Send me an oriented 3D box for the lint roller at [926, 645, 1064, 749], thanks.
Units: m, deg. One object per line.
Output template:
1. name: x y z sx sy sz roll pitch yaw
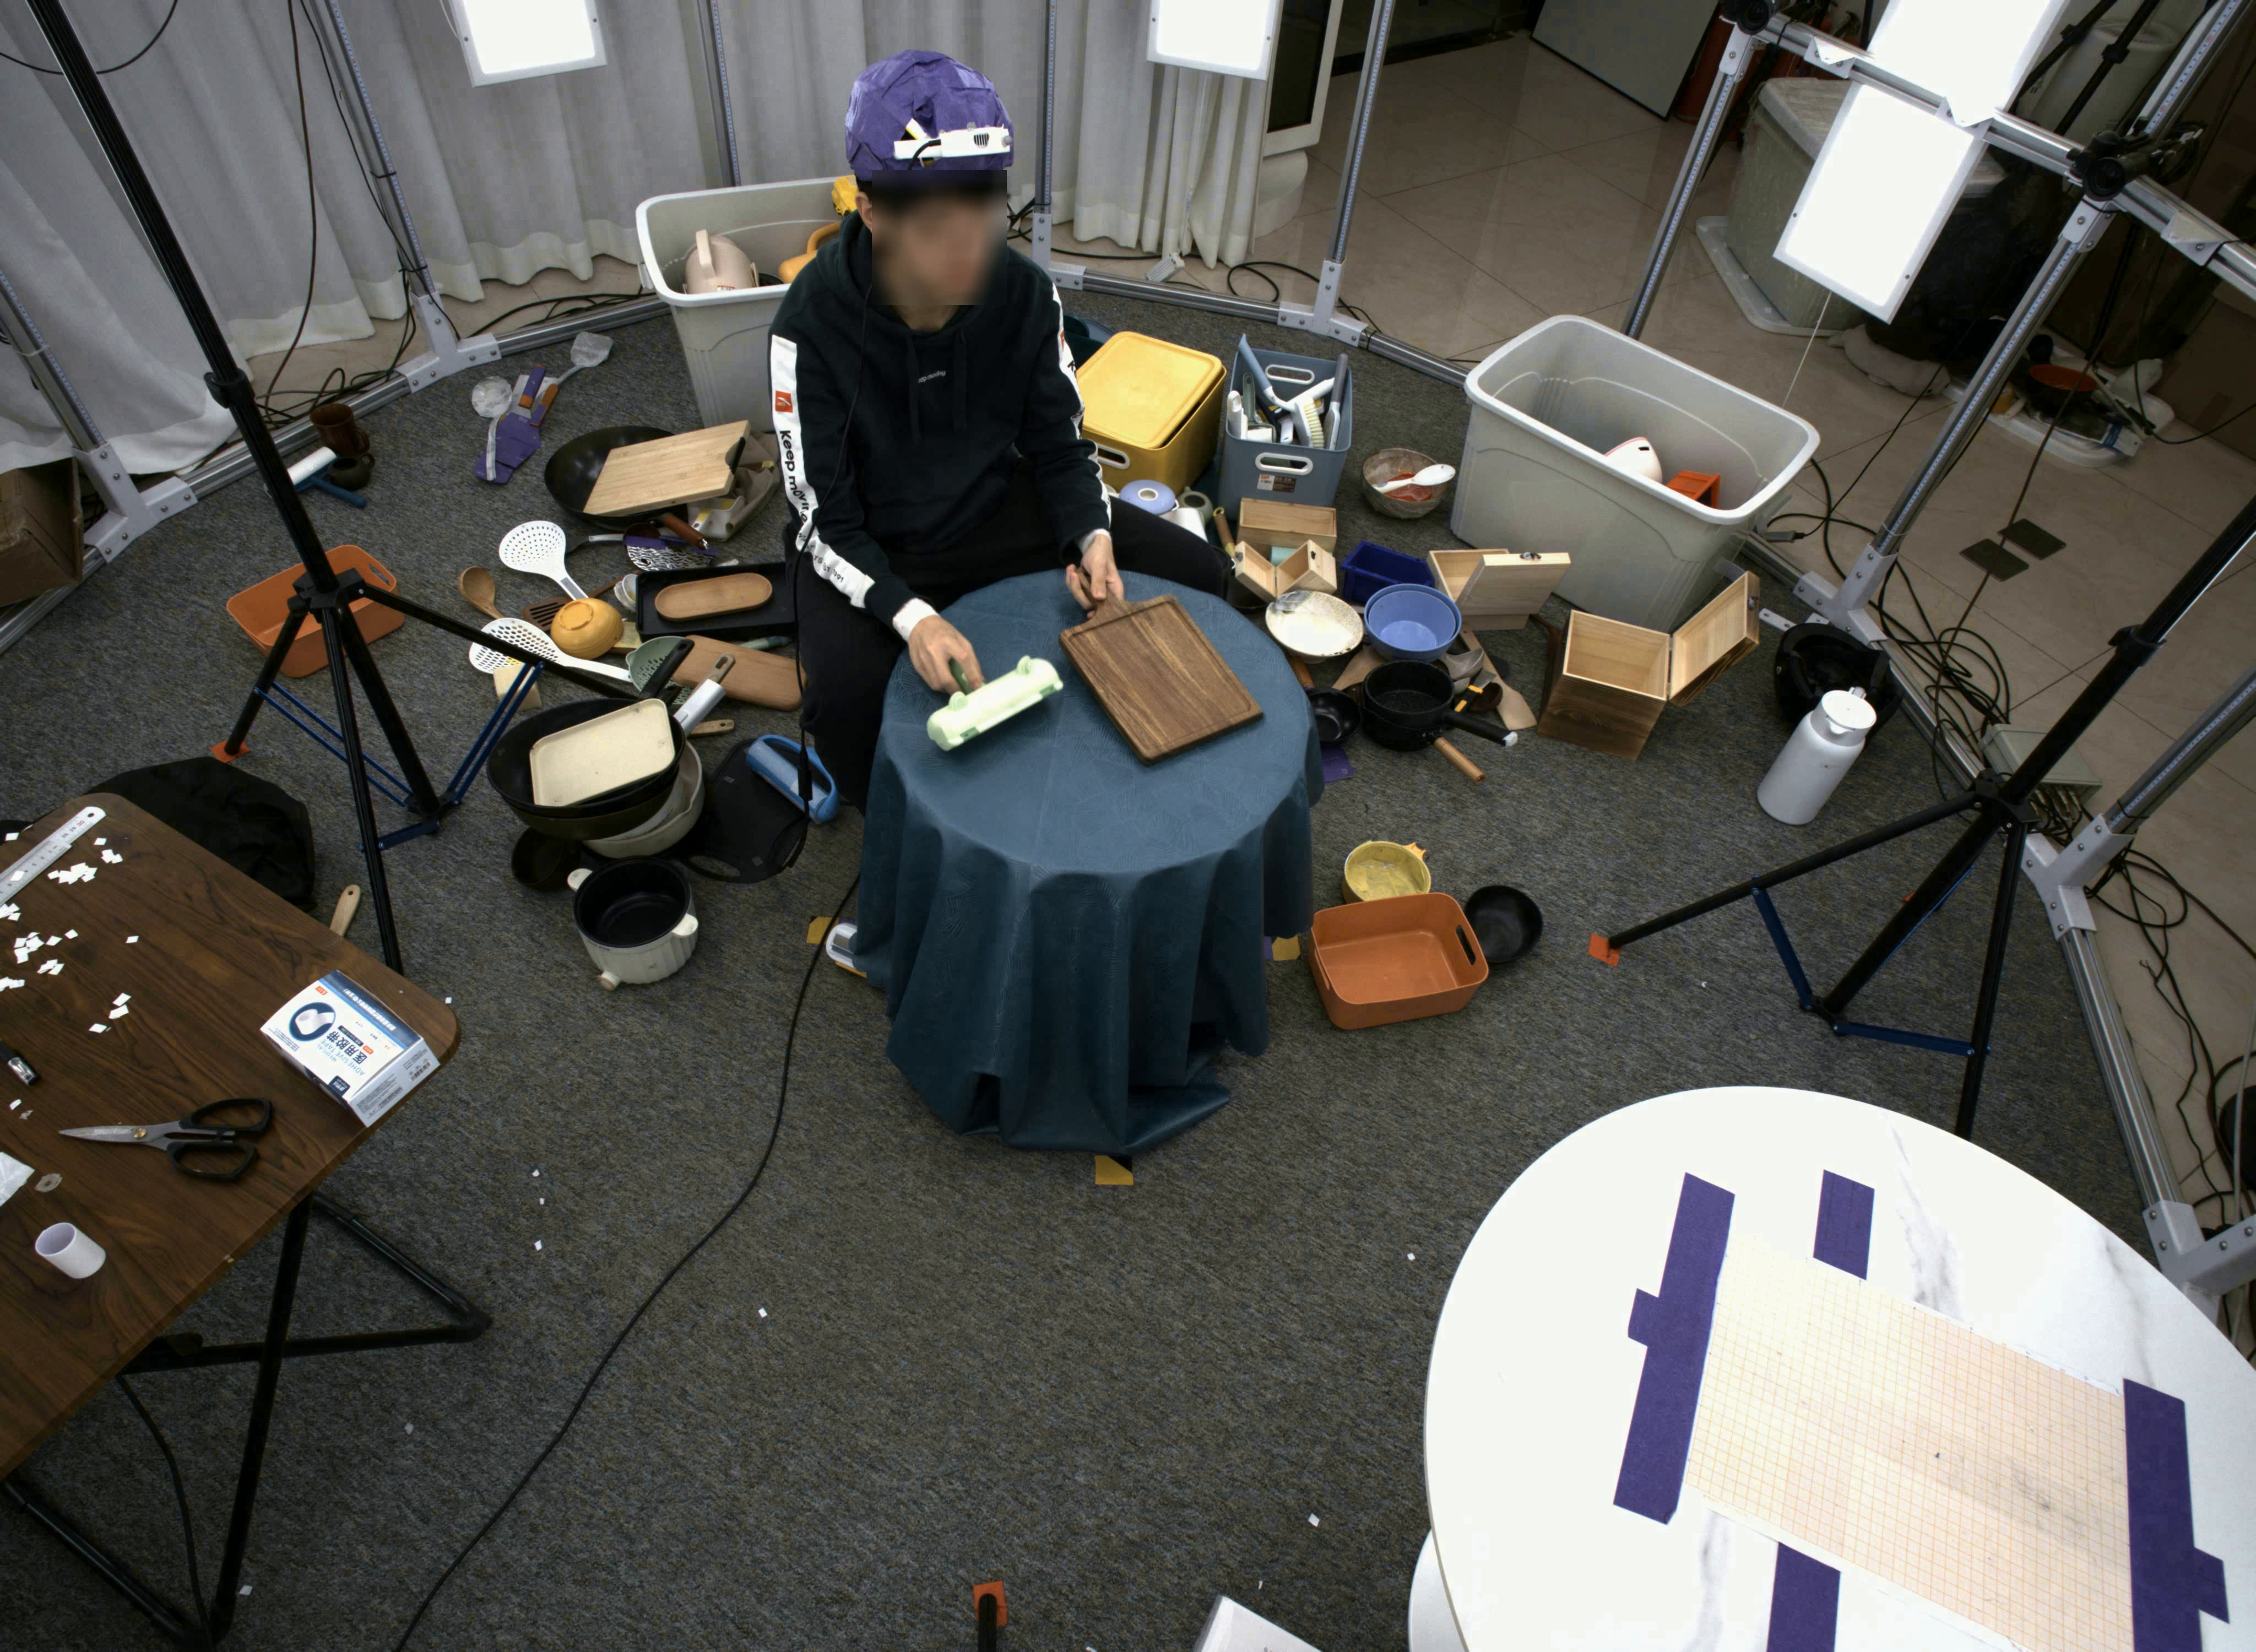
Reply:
1. lint roller: -0.216 -0.210 1.761 0.200 0.080 0.186 -33 63 -28

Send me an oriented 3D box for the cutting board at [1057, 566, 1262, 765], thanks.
1. cutting board: 0.018 -0.251 1.847 0.202 0.023 0.359 -23 61 -23
